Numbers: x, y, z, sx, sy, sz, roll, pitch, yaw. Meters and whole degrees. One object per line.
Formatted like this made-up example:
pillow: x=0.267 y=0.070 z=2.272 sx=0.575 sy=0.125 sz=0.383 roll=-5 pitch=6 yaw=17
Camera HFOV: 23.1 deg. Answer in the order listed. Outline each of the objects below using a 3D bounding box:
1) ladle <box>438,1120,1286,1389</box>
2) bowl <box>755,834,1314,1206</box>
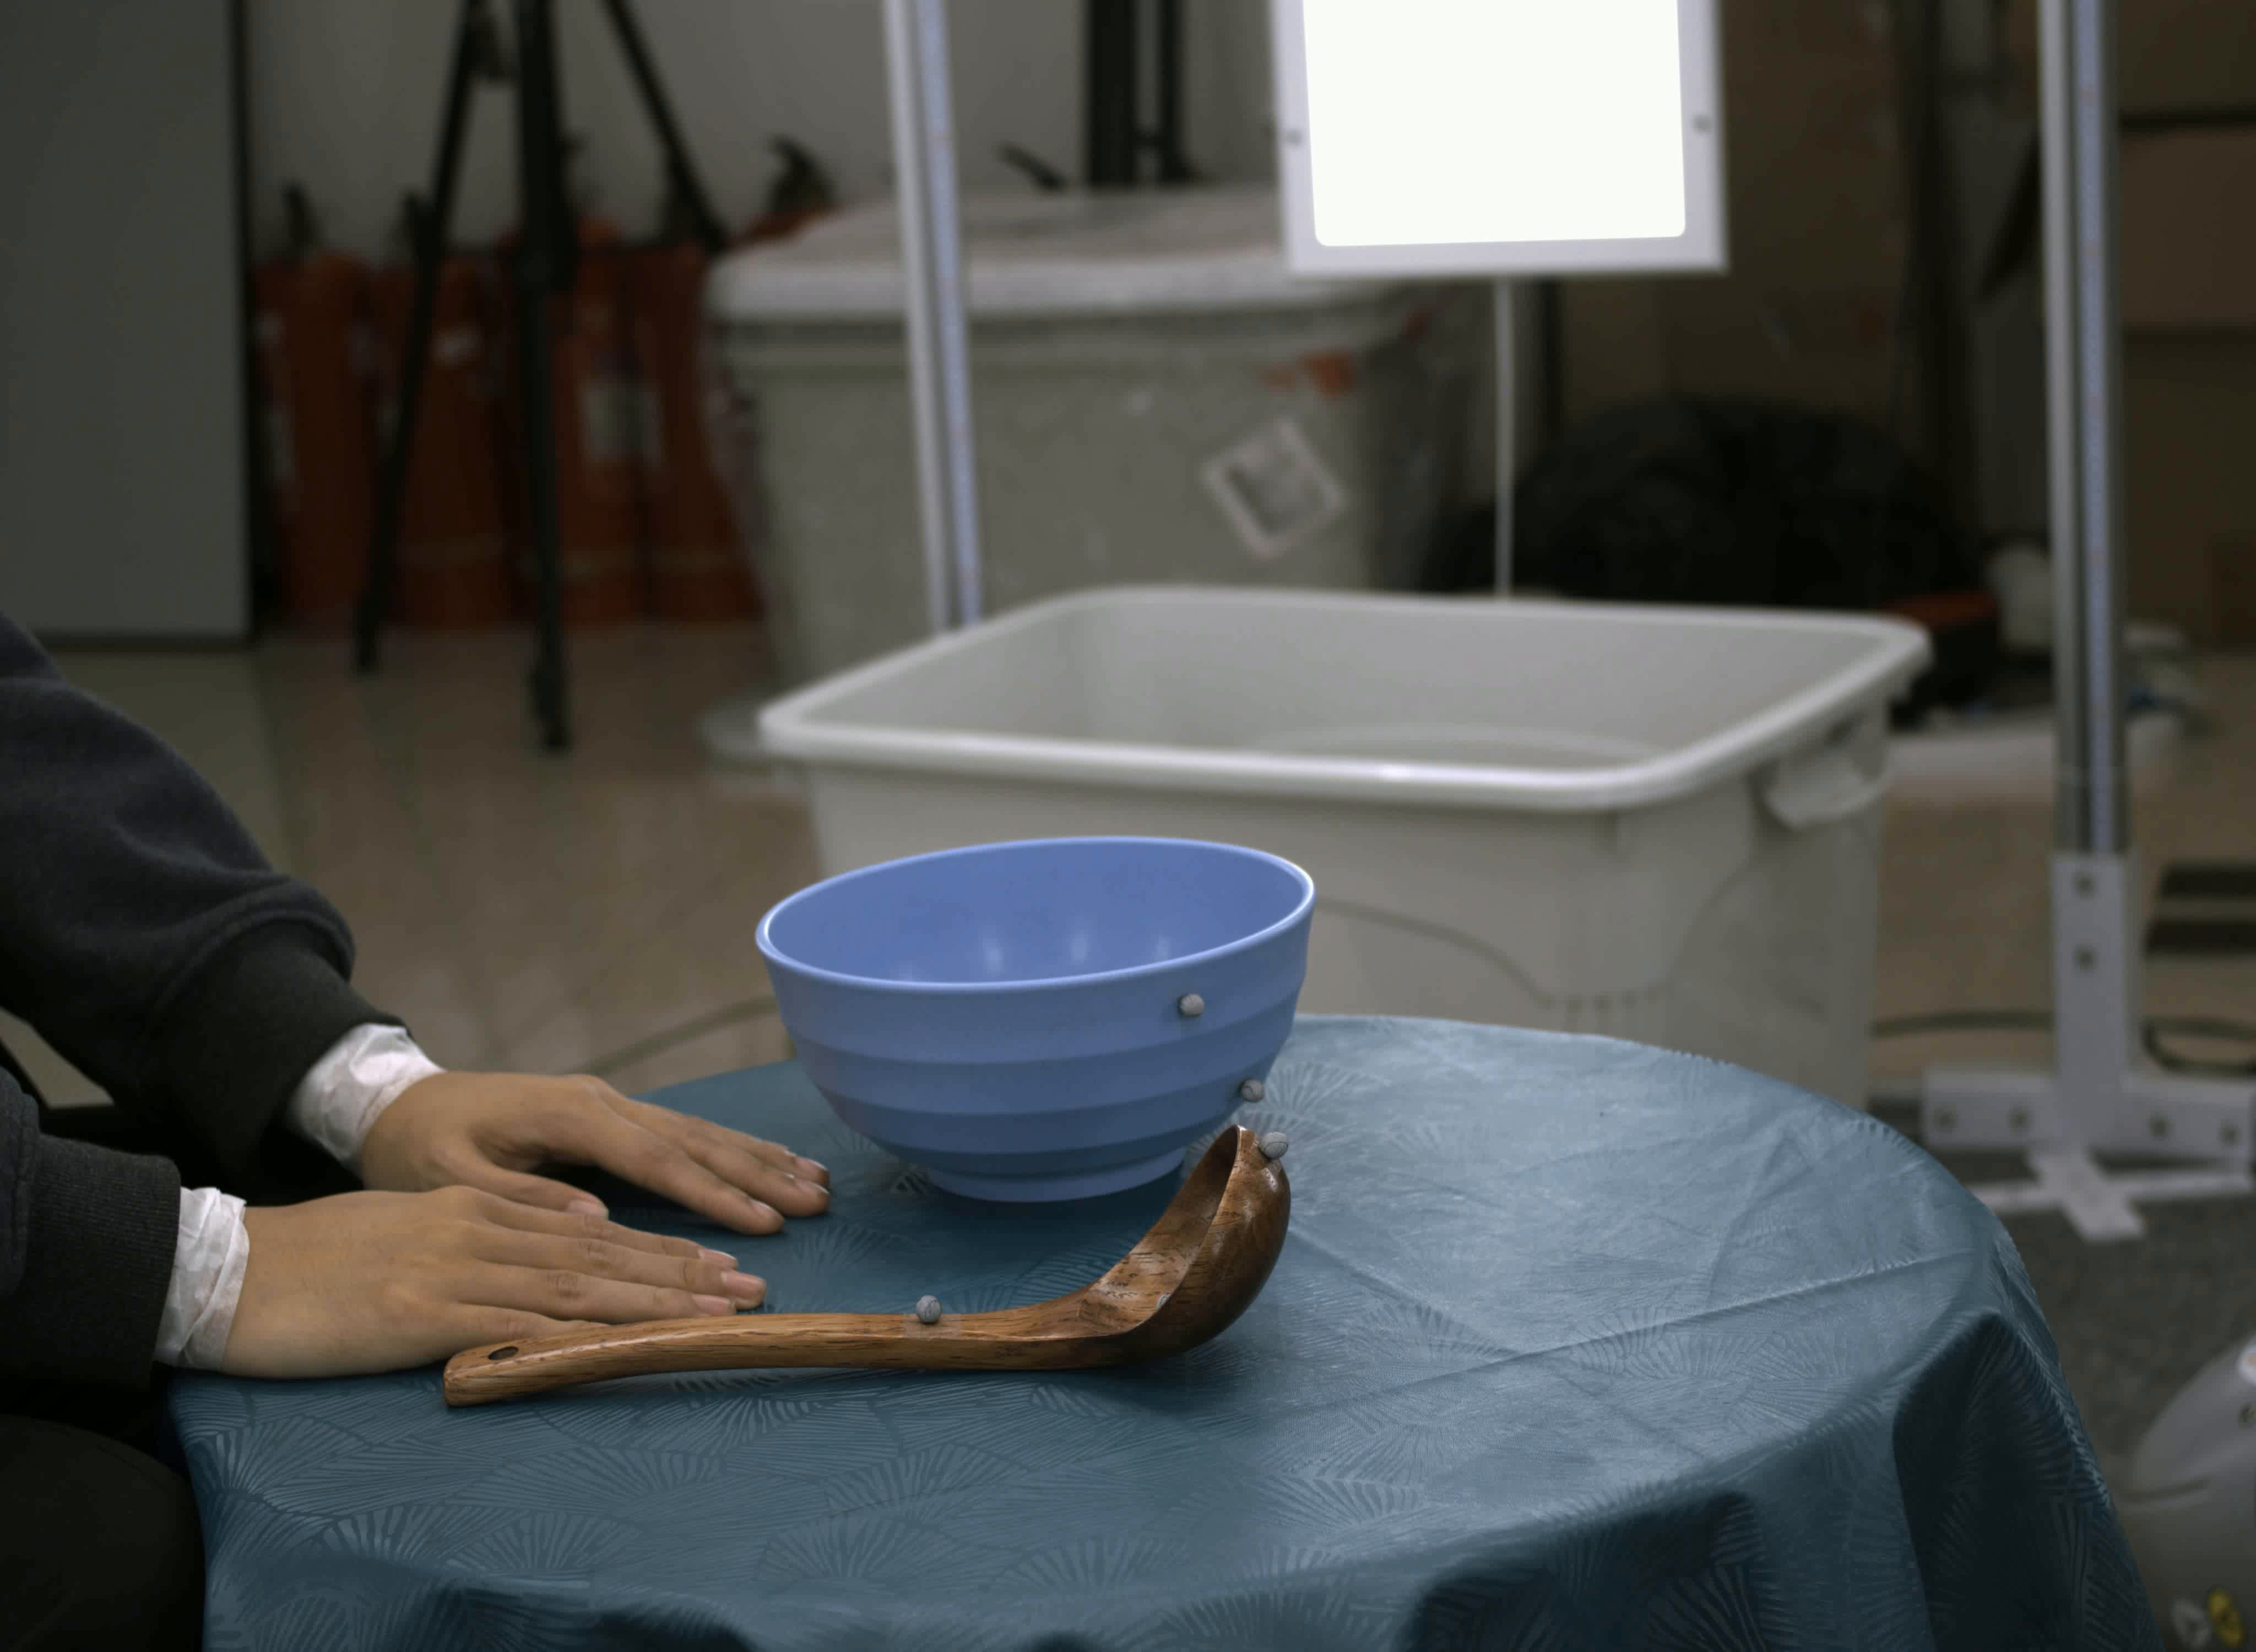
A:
ladle: x=-0.086 y=0.135 z=1.726 sx=0.275 sy=0.077 sz=0.081 roll=-3 pitch=17 yaw=8
bowl: x=-0.028 y=0.074 z=1.926 sx=0.196 sy=0.096 sz=0.196 roll=-6 pitch=14 yaw=0
